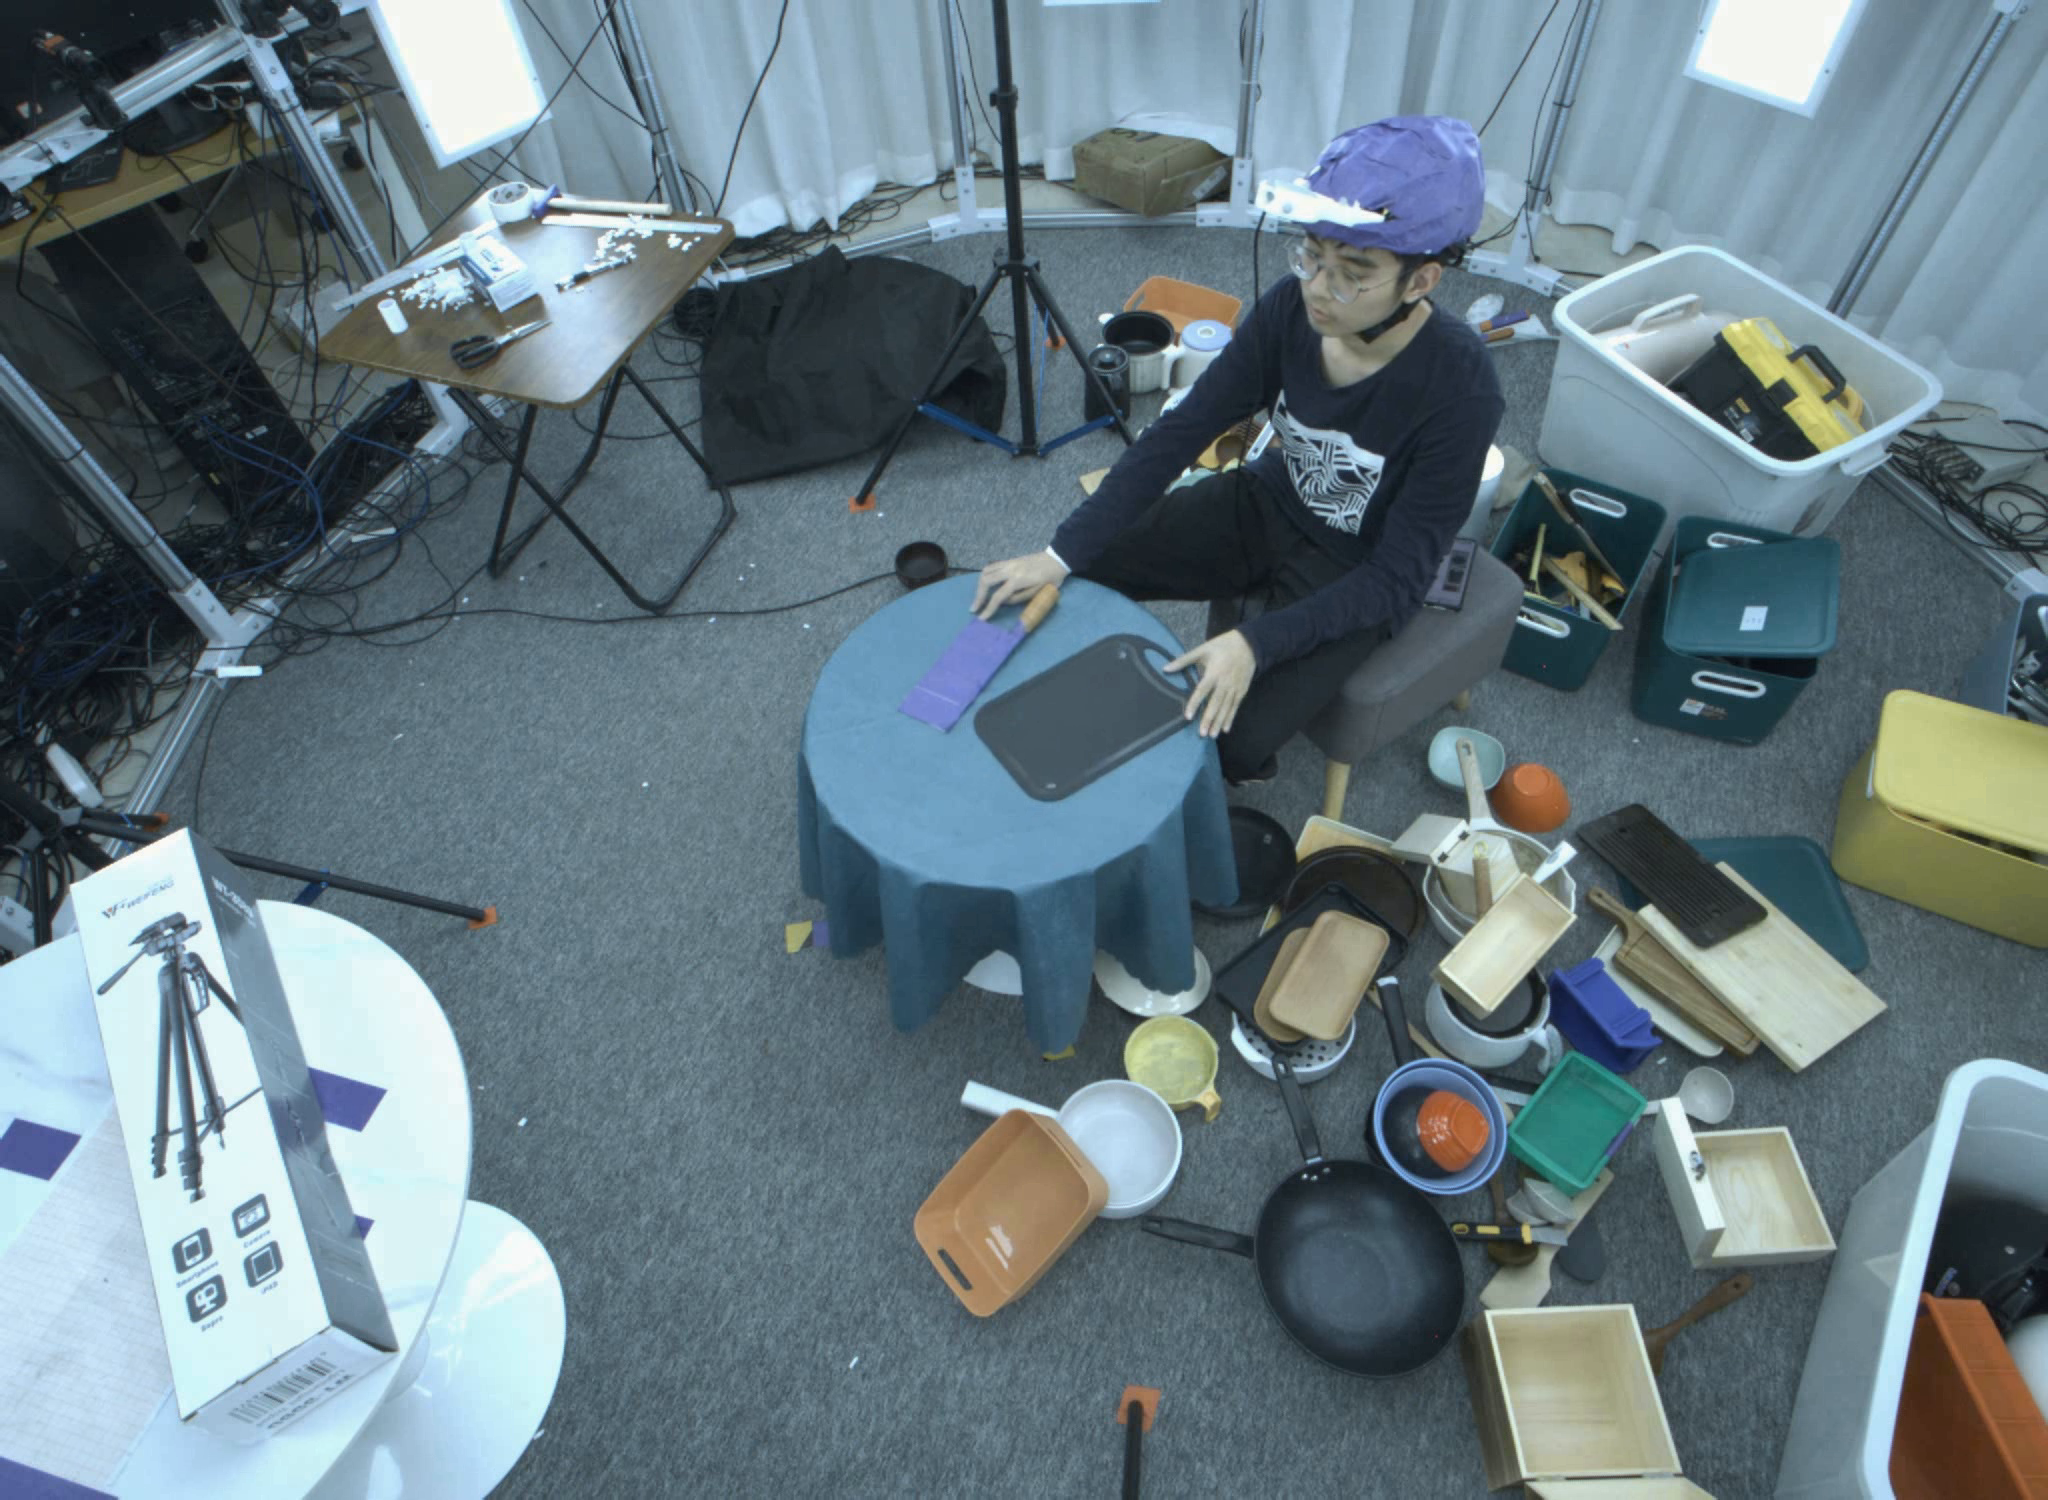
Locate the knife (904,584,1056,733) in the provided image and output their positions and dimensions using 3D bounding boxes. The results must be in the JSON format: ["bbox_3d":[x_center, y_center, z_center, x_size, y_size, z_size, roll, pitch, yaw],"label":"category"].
[{"bbox_3d":[-0.069,-0.157,1.892,0.102,0.032,0.316,27,60,19],"label":"knife"}]

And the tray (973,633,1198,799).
[{"bbox_3d":[0.098,-0.062,1.833,0.328,0.010,0.207,-29,59,-19],"label":"tray"}]
